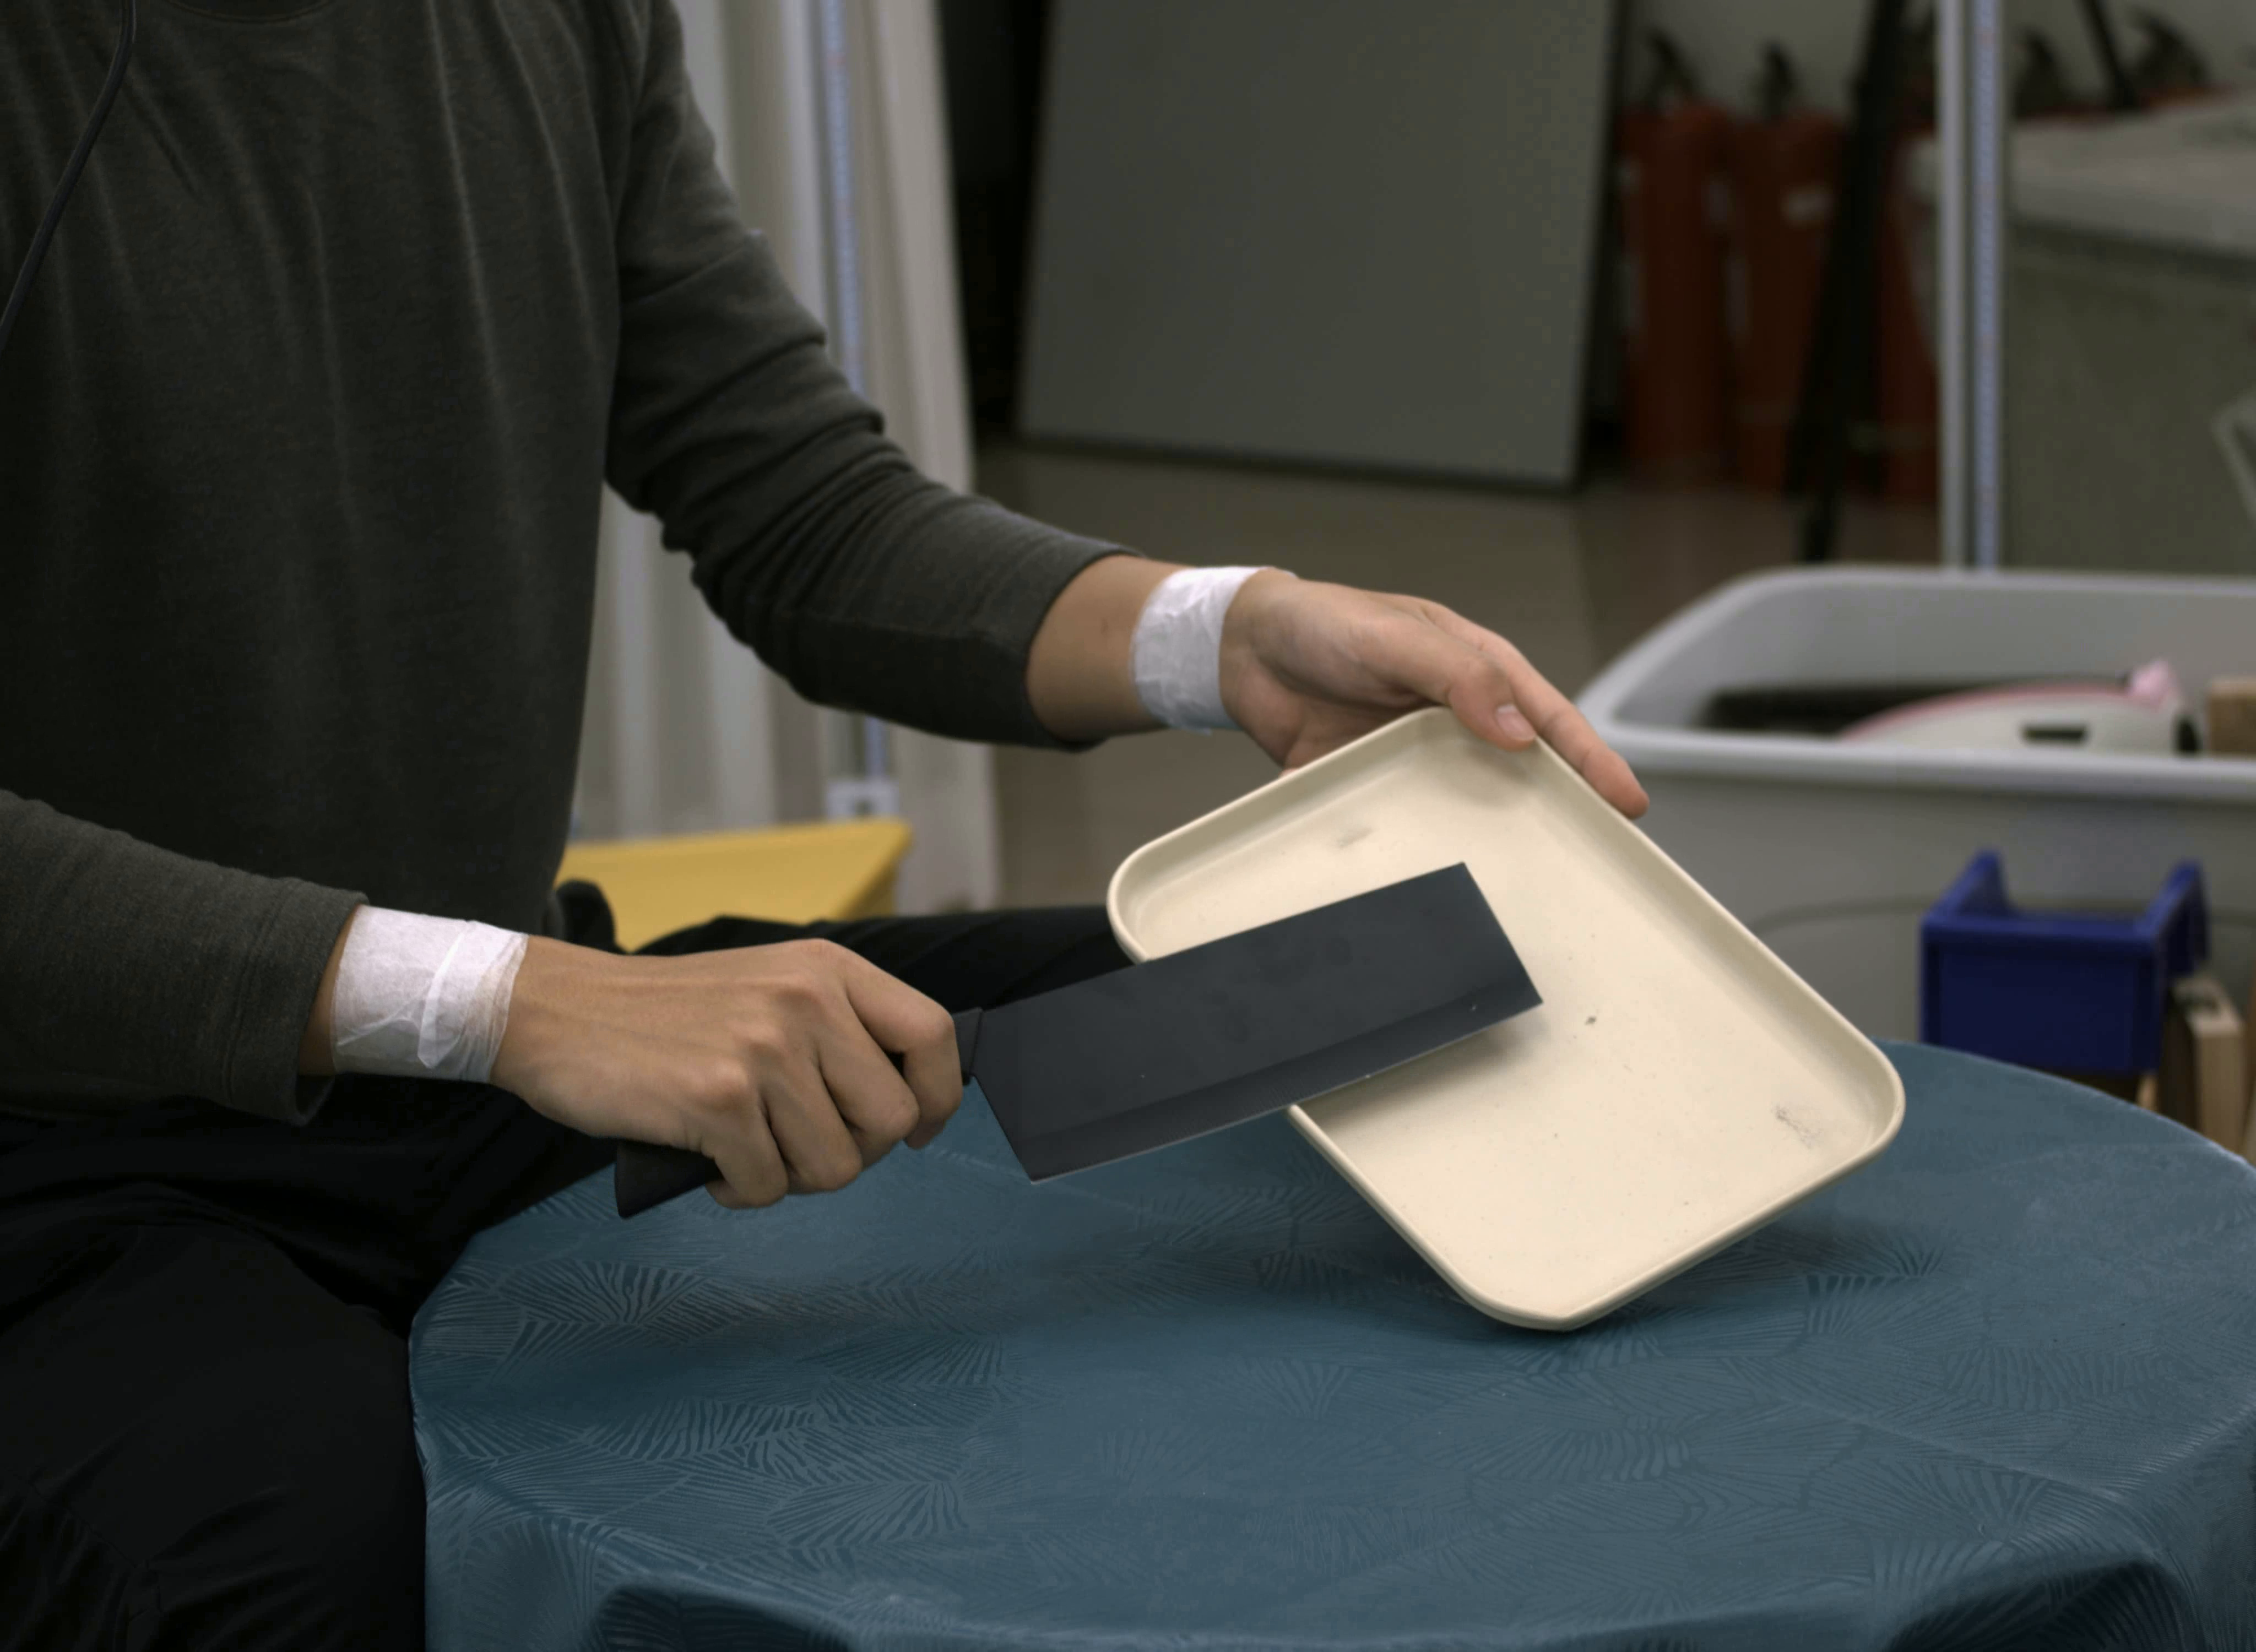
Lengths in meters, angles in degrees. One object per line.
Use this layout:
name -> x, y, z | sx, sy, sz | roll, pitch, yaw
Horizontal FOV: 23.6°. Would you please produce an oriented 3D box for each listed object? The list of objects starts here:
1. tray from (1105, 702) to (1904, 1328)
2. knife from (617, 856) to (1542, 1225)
tray -> 0.117, 0.057, 1.702 | 0.168, 0.017, 0.242 | -26, 50, -25
knife -> -0.016, 0.073, 1.669 | 0.297, 0.021, 0.082 | -14, 54, -13
